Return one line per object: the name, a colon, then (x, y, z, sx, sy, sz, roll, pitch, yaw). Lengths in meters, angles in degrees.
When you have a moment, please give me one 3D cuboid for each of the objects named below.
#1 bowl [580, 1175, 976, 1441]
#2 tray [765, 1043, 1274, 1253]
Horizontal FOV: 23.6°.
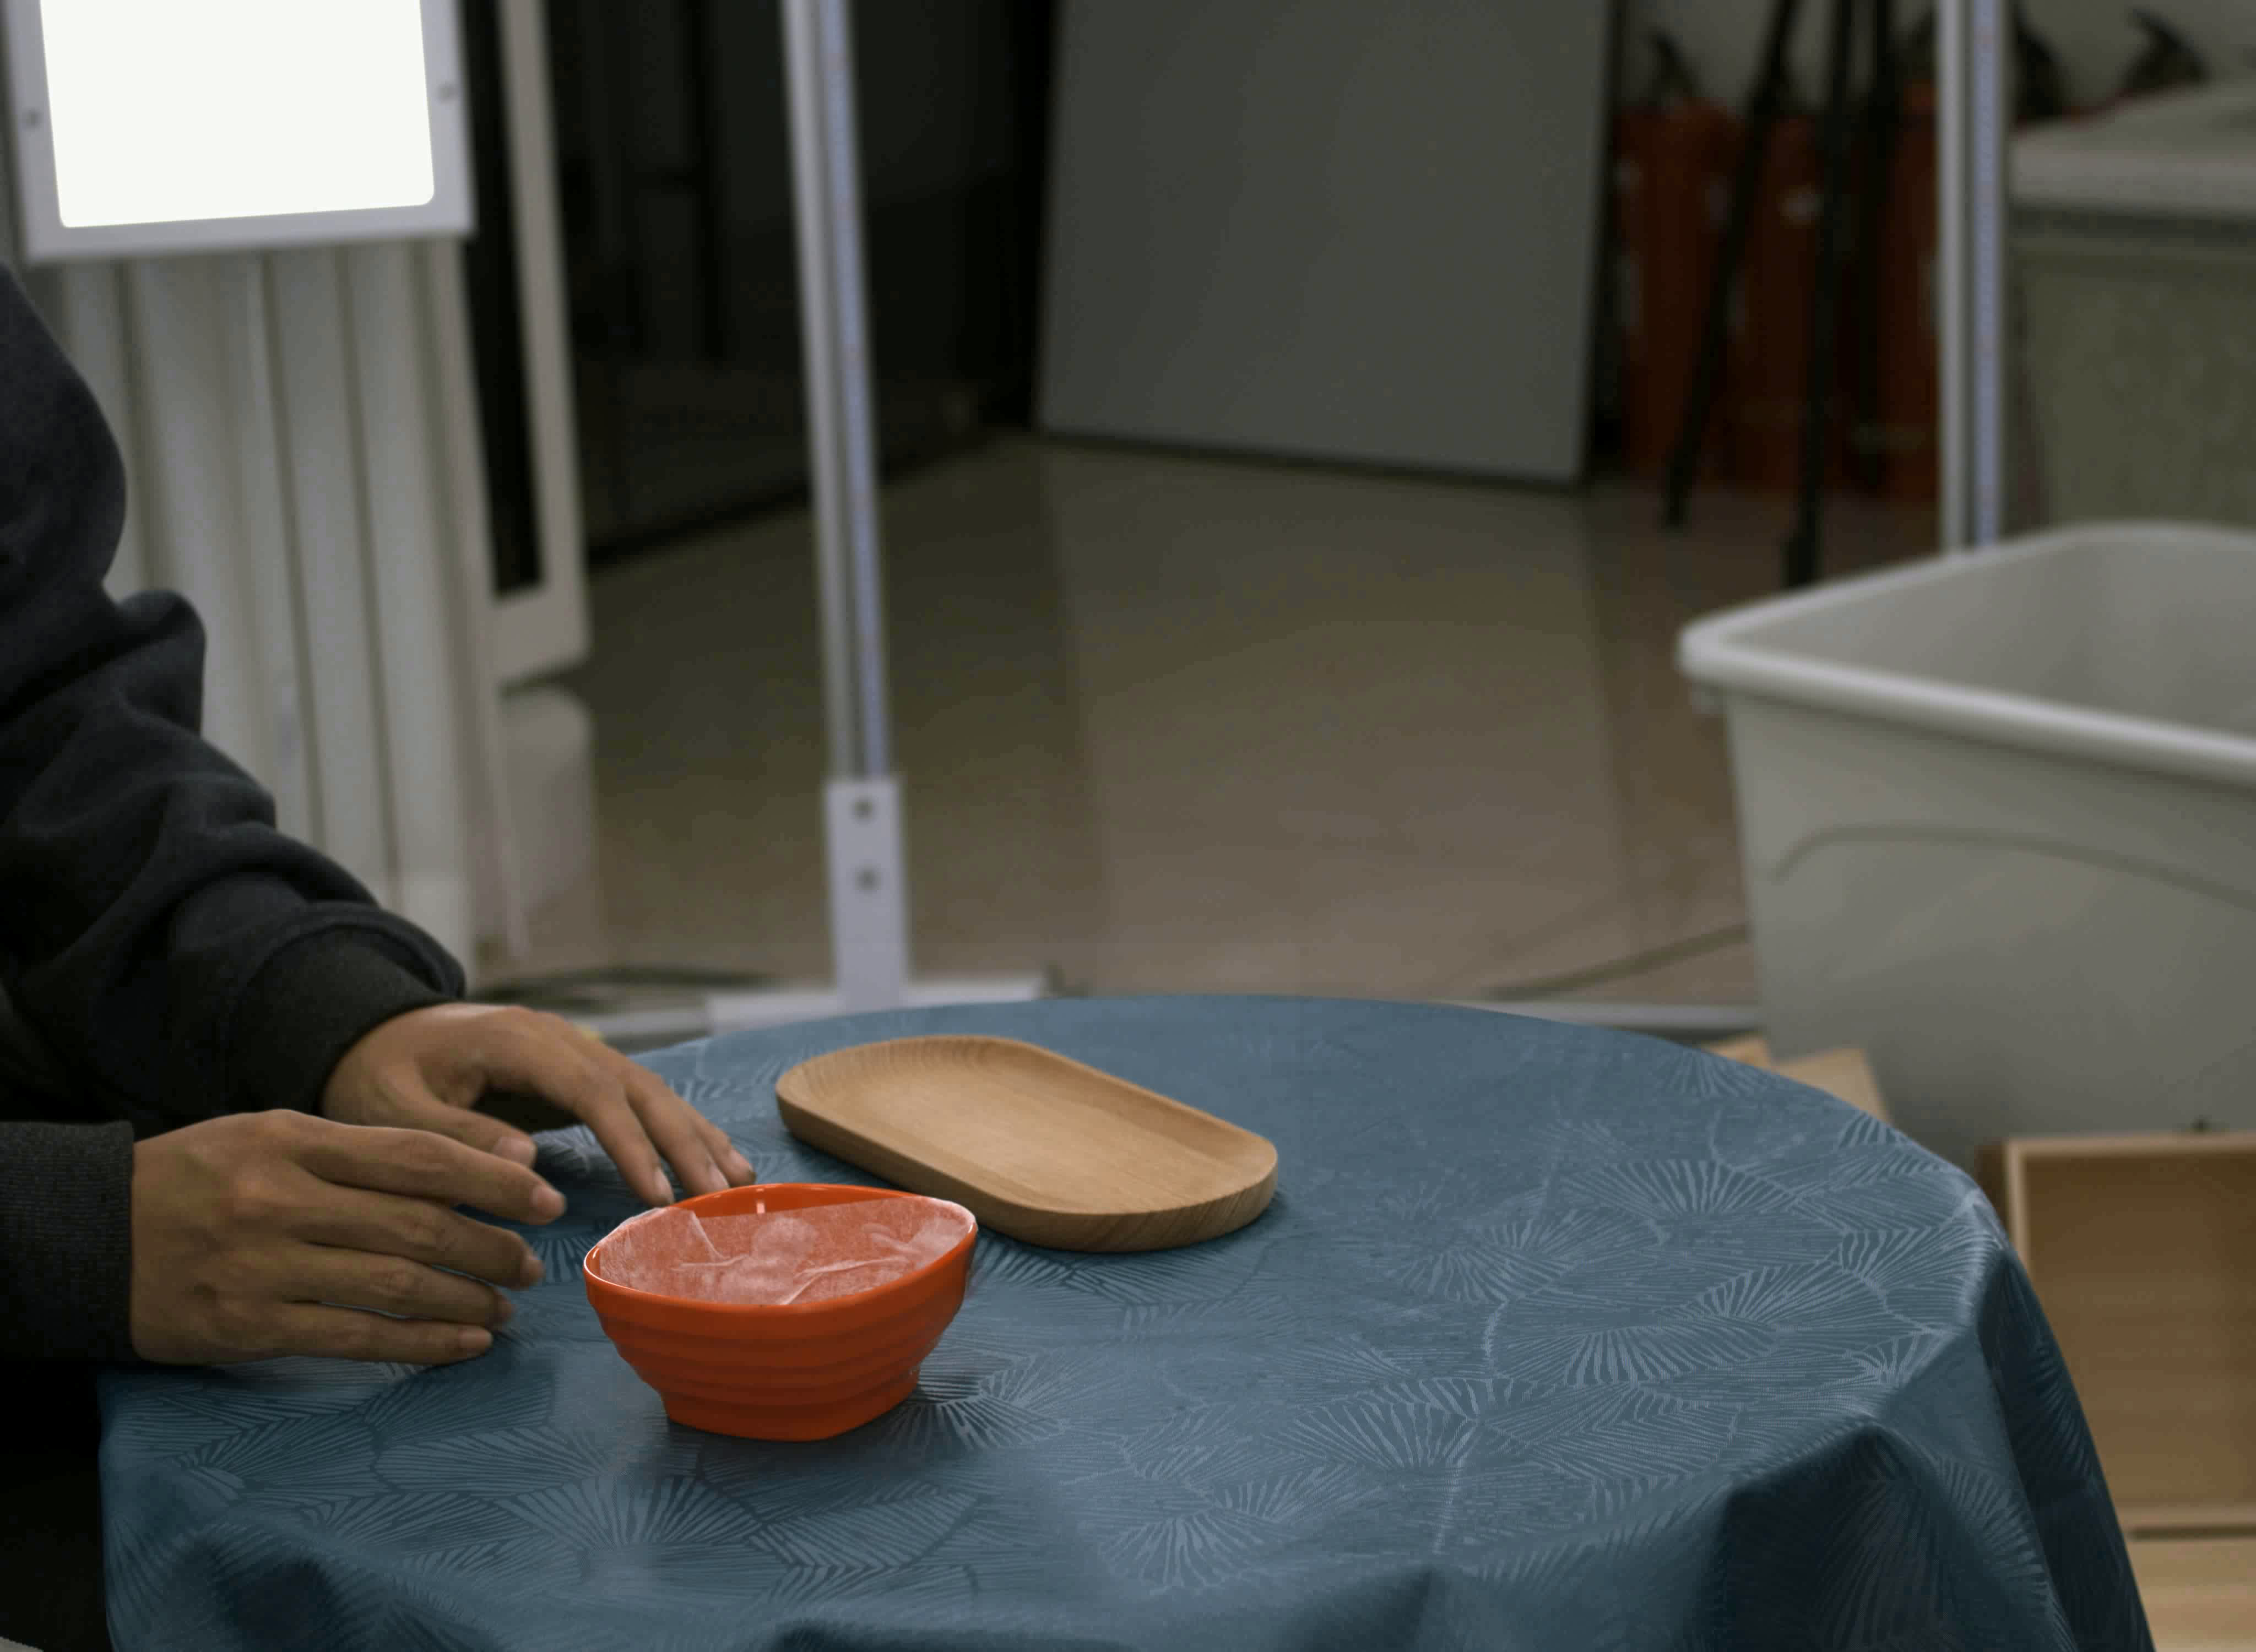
bowl: (-0.101, 0.144, 1.590, 0.117, 0.052, 0.119, -4, 15, 0)
tray: (-0.038, 0.106, 1.807, 0.099, 0.020, 0.233, -11, 14, -32)
